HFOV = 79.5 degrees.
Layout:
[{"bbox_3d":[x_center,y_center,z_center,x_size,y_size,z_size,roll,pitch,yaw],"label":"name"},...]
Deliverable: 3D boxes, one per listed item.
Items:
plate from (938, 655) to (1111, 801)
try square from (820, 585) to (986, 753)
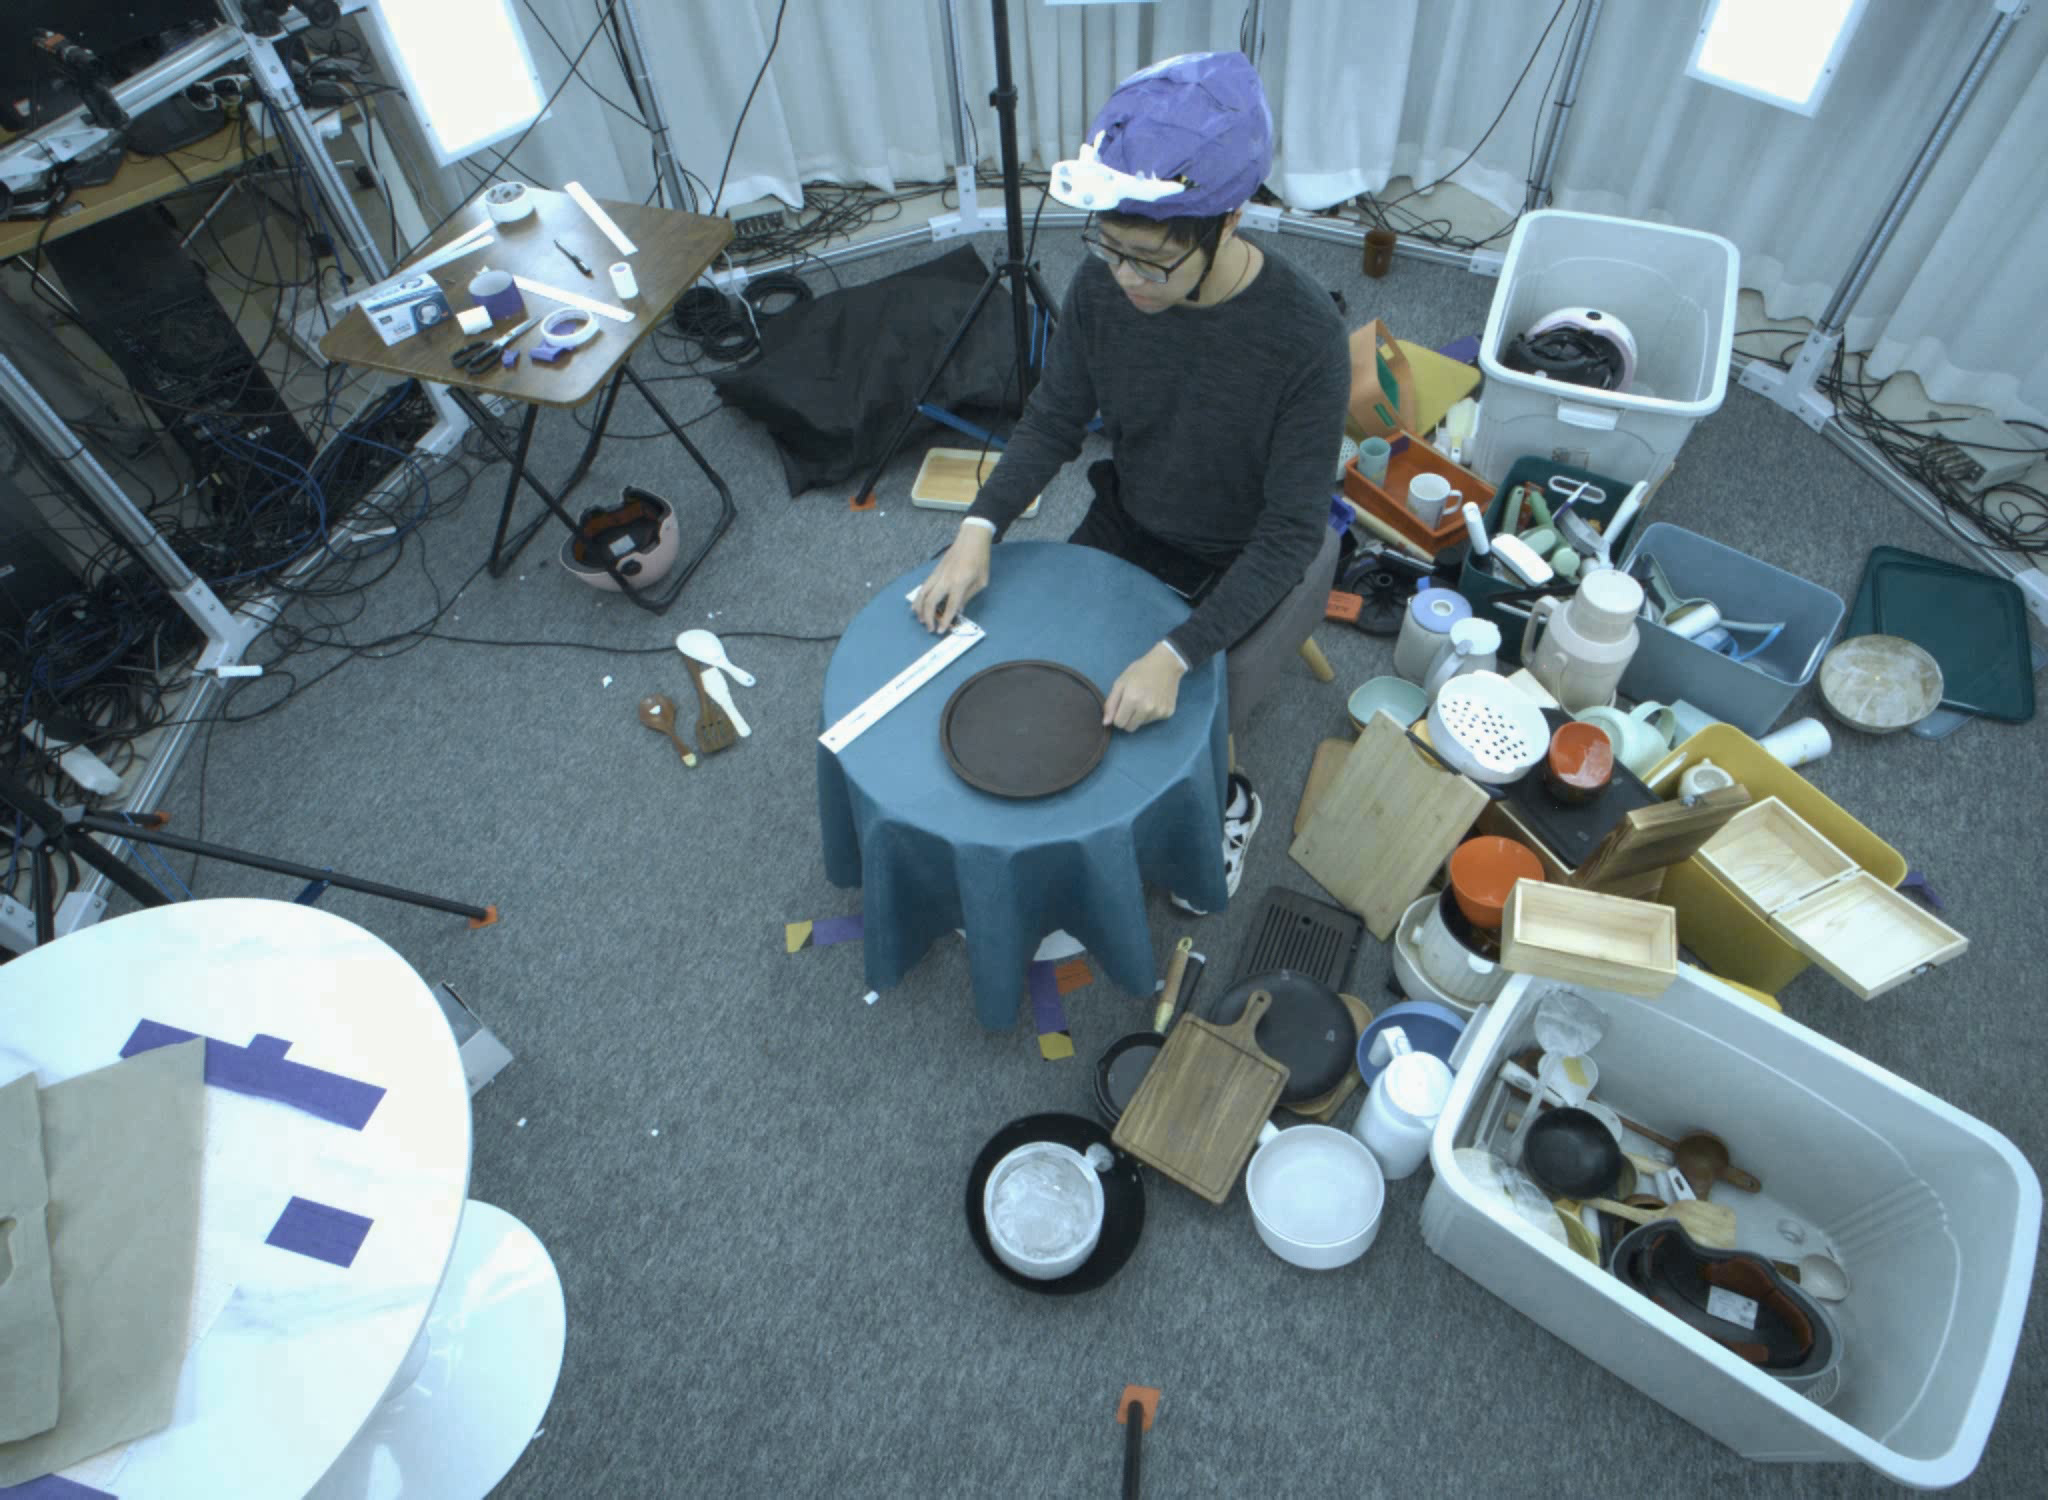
[{"bbox_3d":[0.001,-0.032,1.796,0.254,0.029,0.252,-1,56,2],"label":"plate"},{"bbox_3d":[-0.219,-0.130,1.883,0.149,0.016,0.315,38,65,25],"label":"try square"}]
